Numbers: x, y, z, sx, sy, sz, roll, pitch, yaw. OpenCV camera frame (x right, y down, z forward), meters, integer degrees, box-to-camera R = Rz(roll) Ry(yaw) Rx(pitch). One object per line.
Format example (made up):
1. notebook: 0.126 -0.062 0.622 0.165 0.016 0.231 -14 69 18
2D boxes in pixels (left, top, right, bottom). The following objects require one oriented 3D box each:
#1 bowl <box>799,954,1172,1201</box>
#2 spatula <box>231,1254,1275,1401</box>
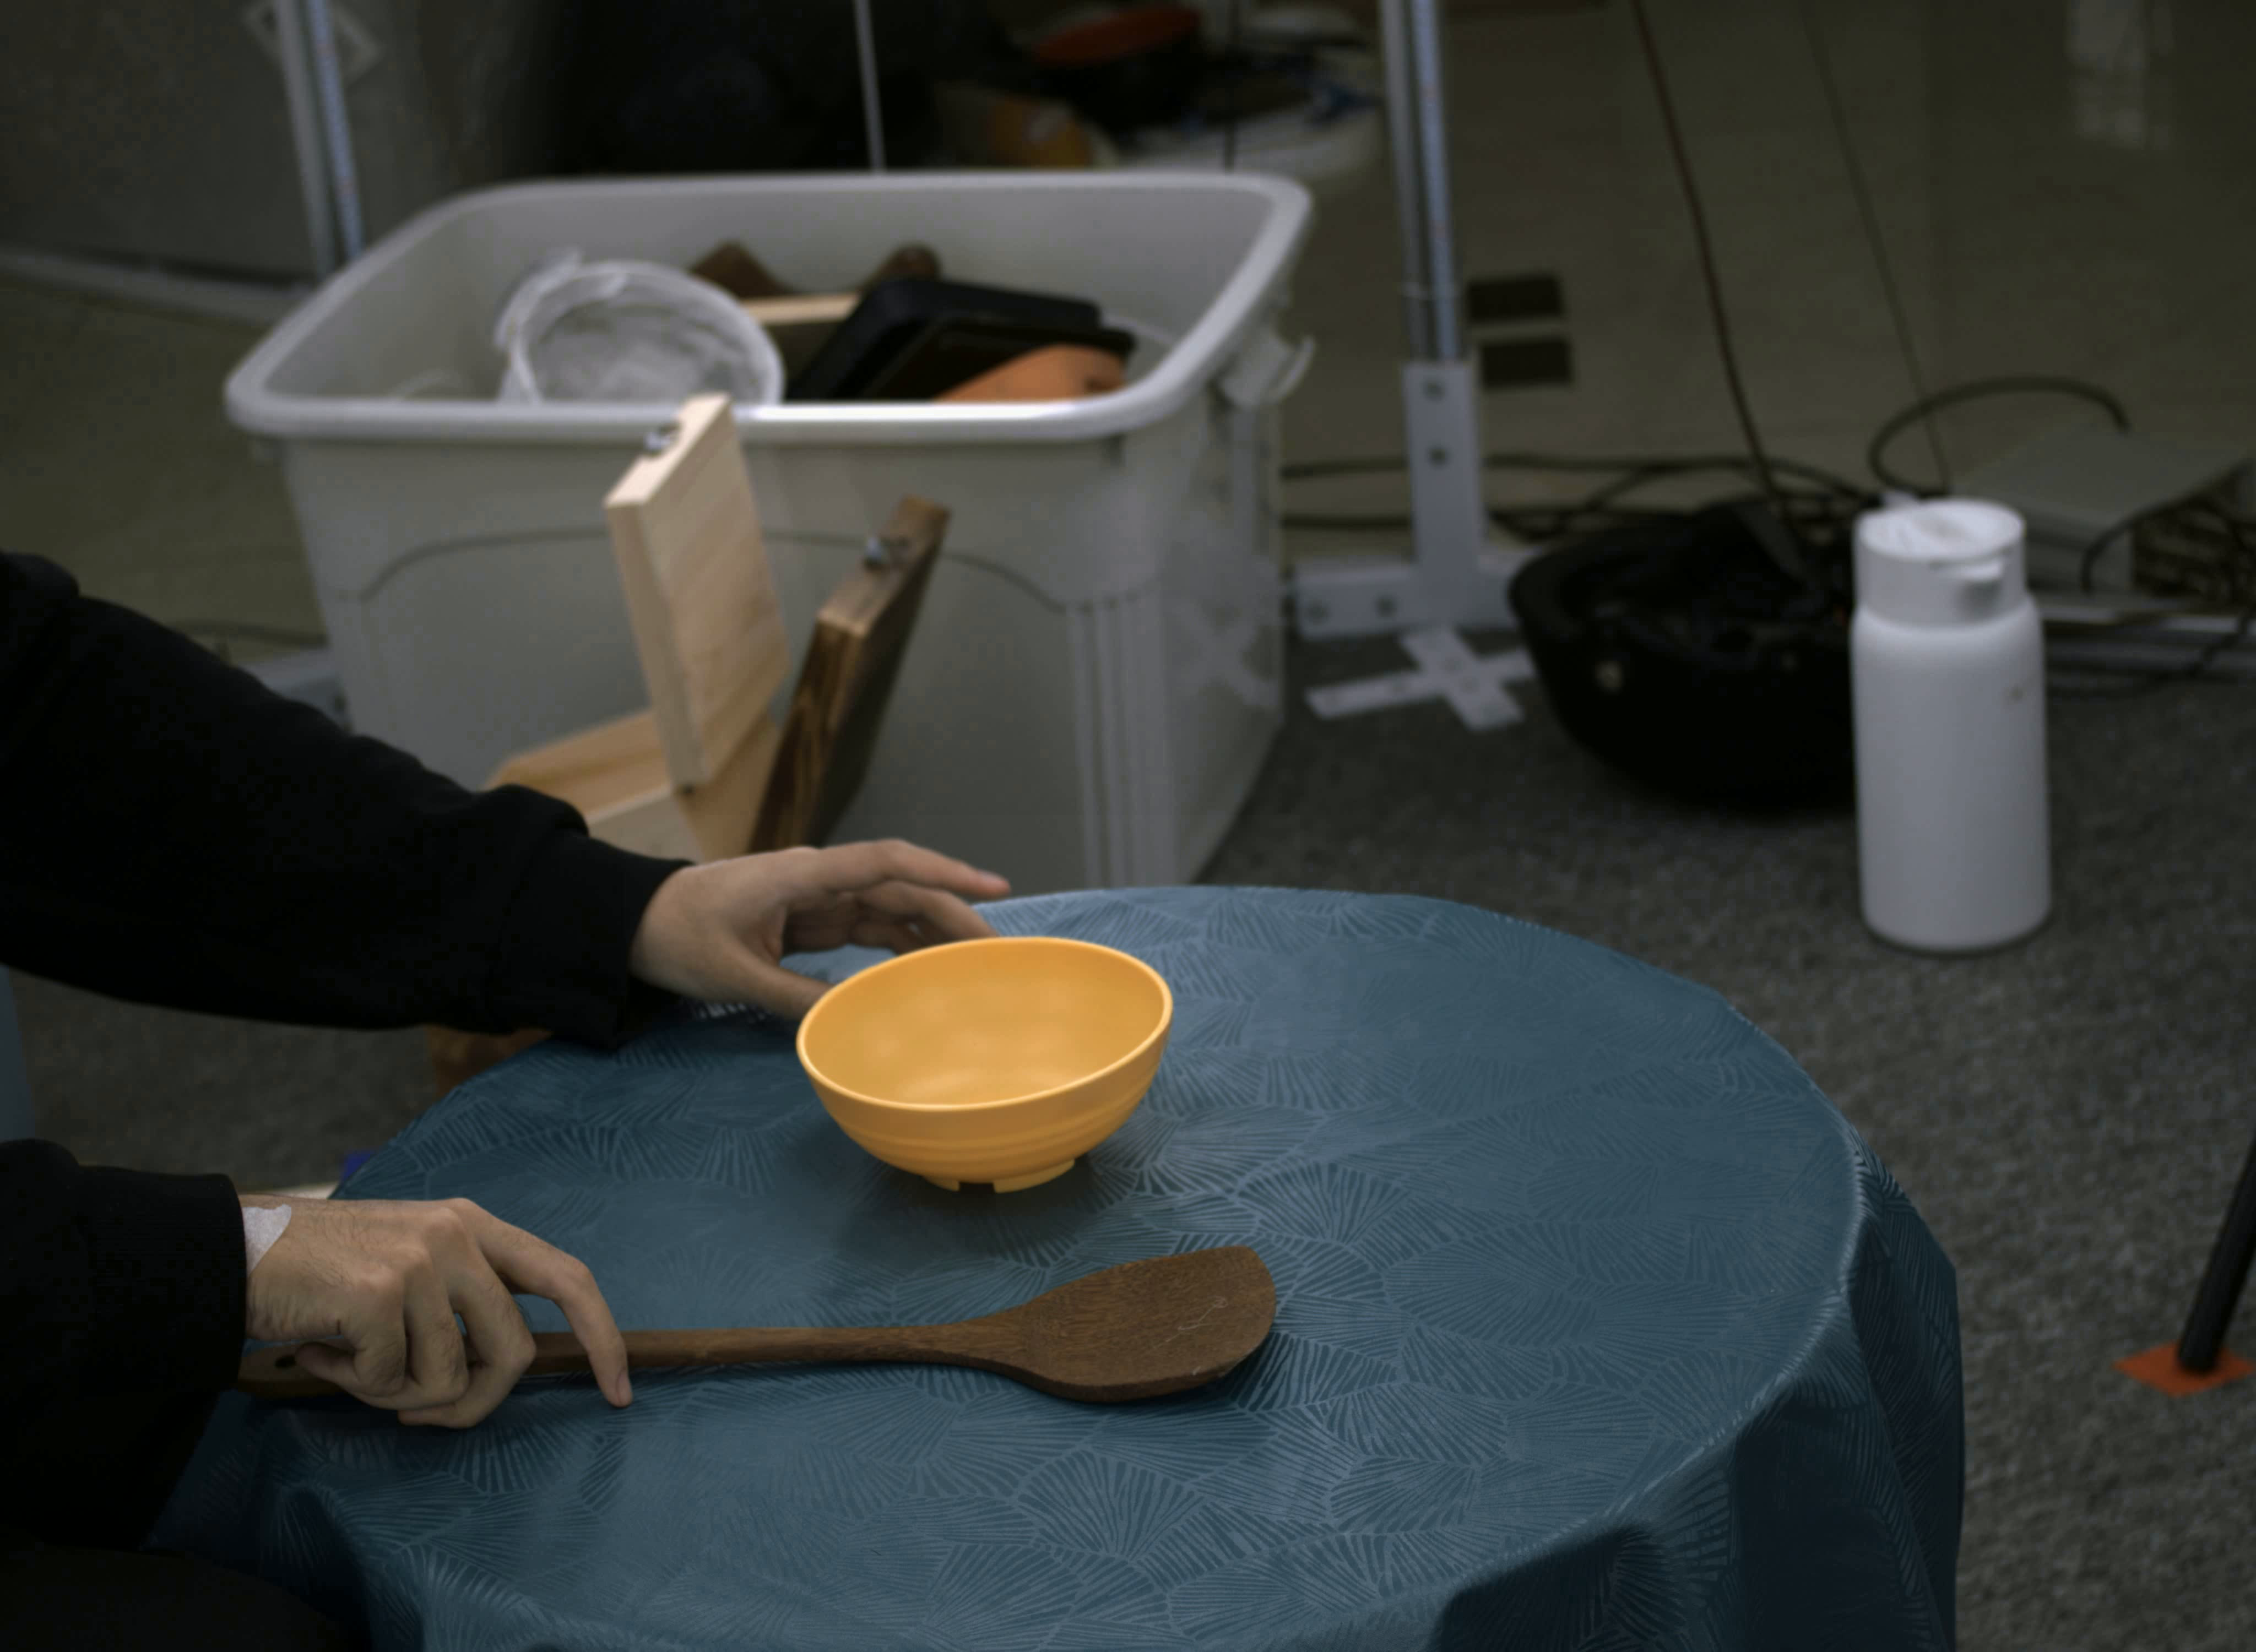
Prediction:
1. bowl: -0.052 0.103 2.176 0.145 0.061 0.143 -6 22 2
2. spatula: -0.138 0.189 2.060 0.385 0.016 0.095 -3 24 6
